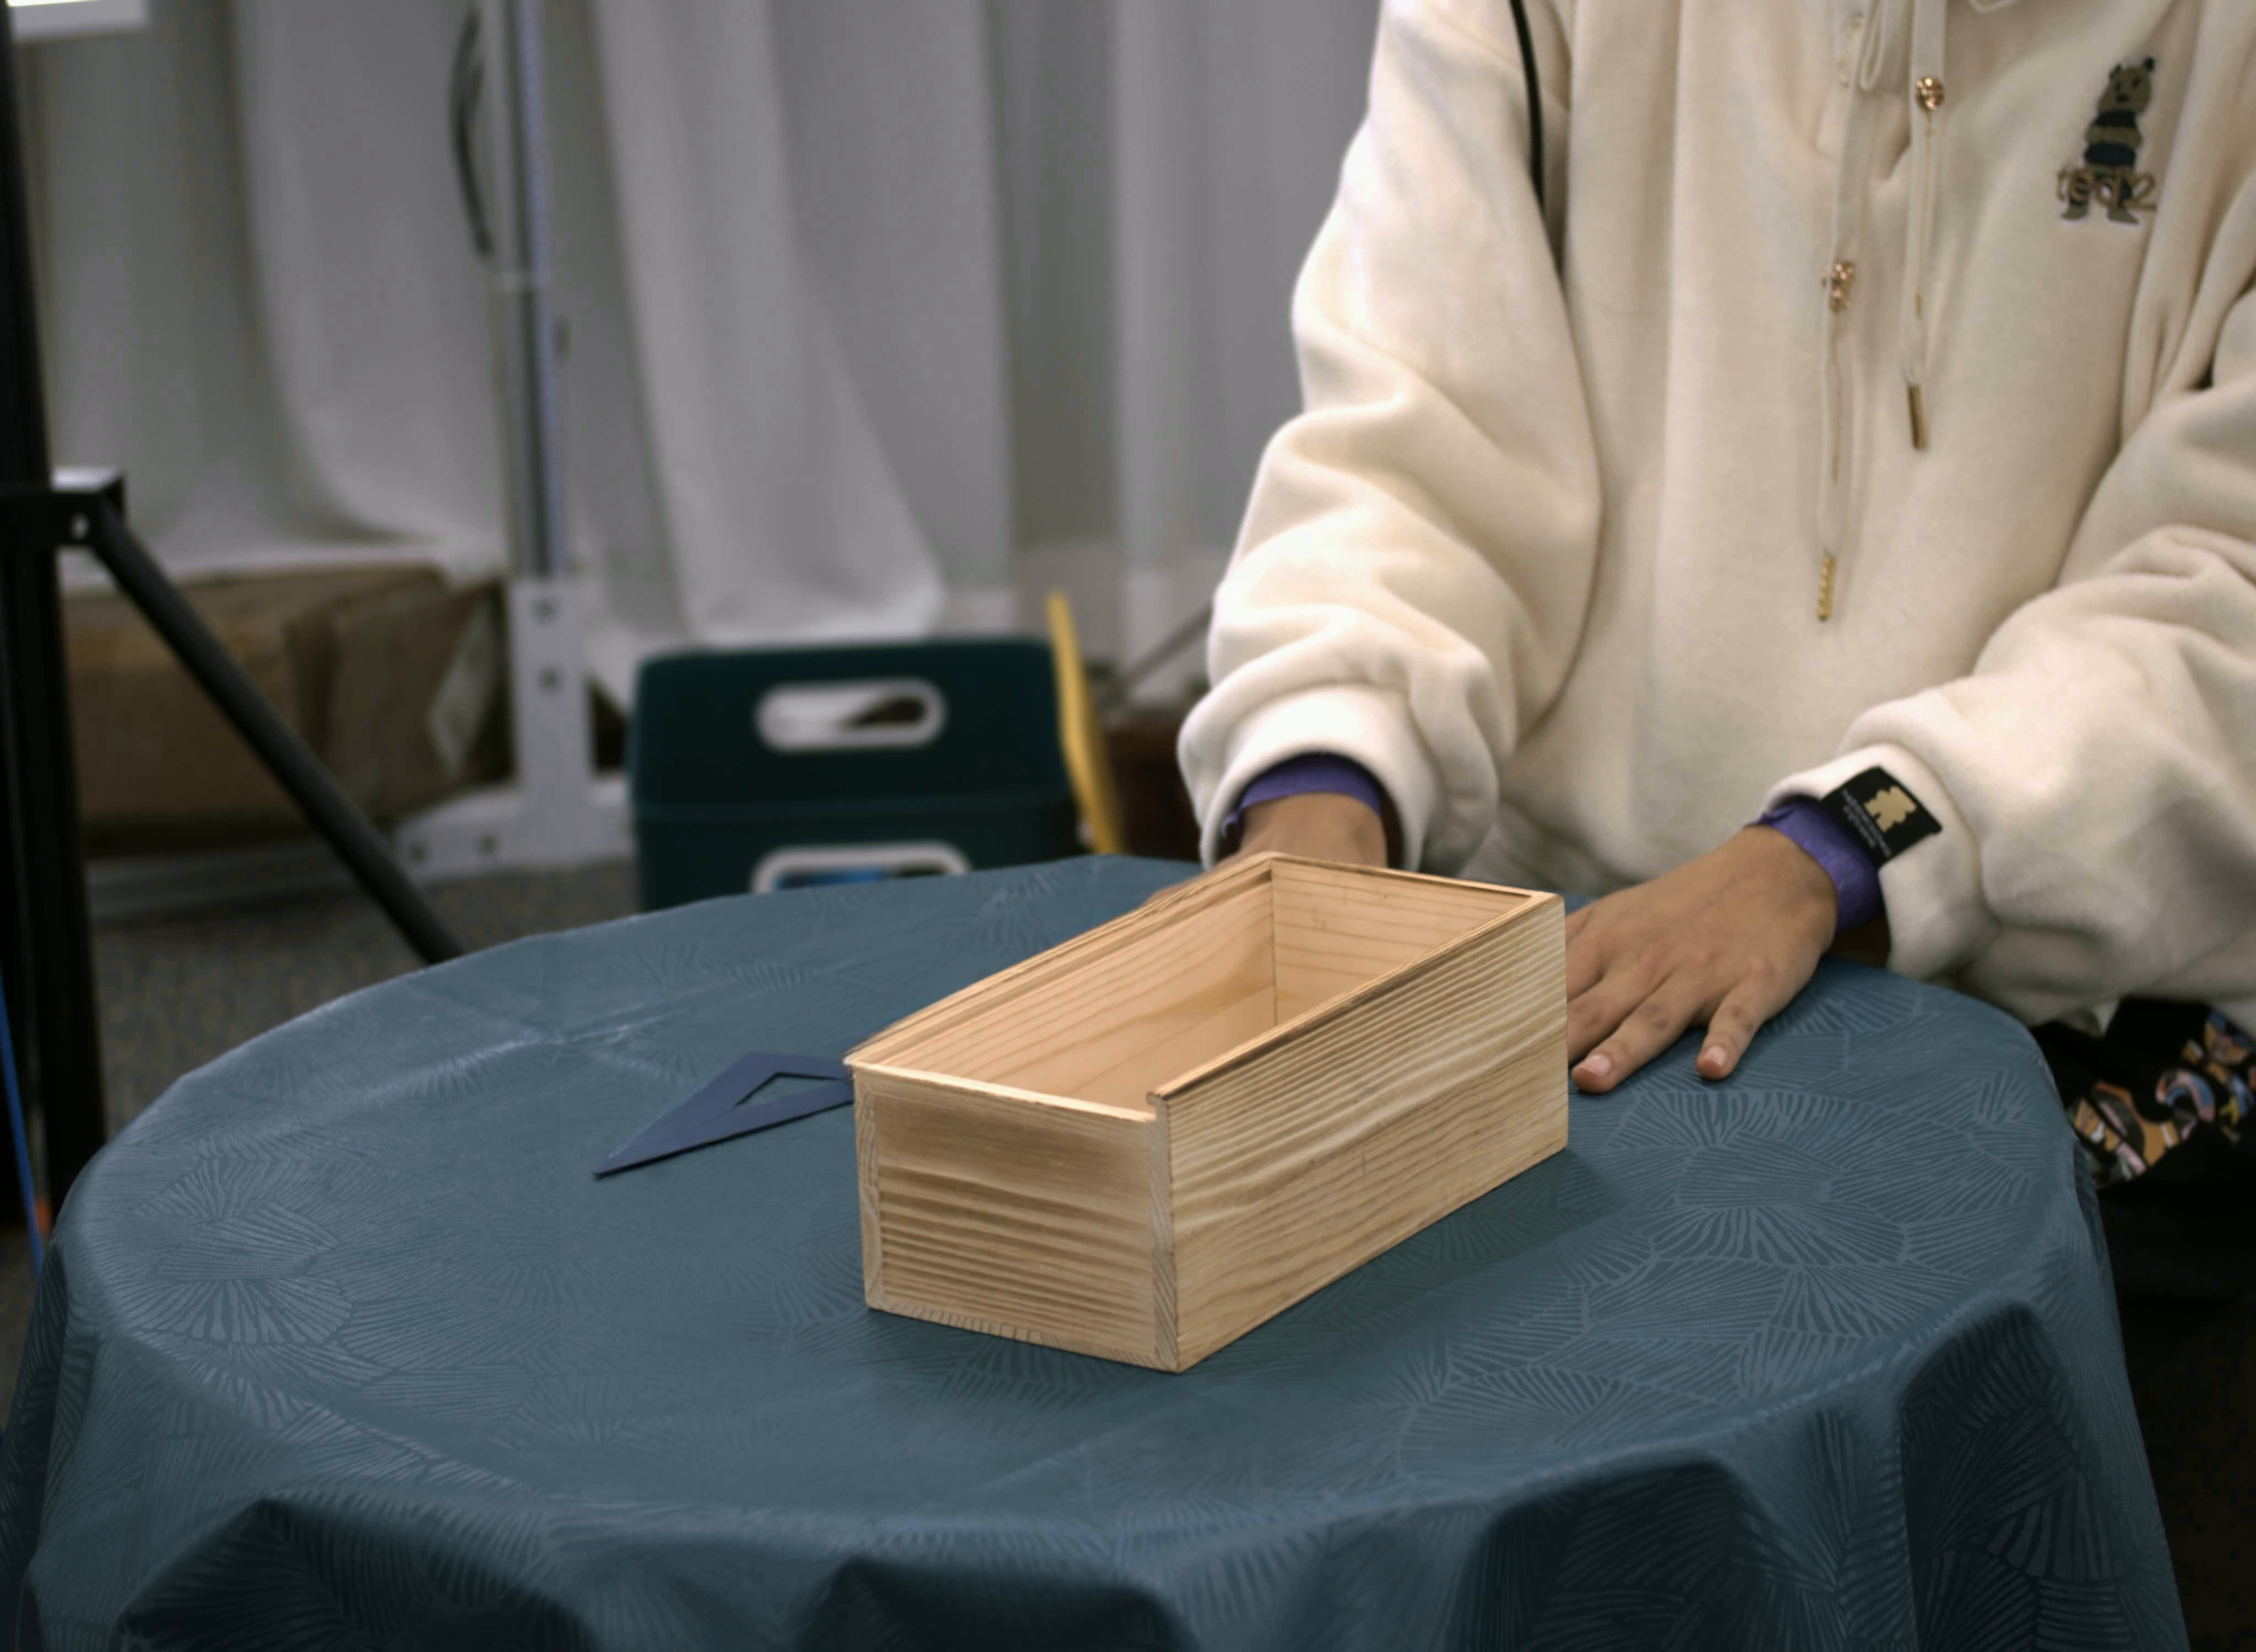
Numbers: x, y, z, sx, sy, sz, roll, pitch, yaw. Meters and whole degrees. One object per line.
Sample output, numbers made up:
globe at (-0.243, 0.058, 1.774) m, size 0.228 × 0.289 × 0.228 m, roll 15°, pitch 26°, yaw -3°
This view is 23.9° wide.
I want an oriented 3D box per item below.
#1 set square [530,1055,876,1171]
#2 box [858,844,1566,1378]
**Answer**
set square at (-0.137, 0.085, 1.654) m, size 0.129 × 0.006 × 0.062 m, roll -13°, pitch 19°, yaw -32°
box at (0.028, 0.077, 1.517) m, size 0.109 × 0.080 × 0.207 m, roll 9°, pitch 20°, yaw 33°
